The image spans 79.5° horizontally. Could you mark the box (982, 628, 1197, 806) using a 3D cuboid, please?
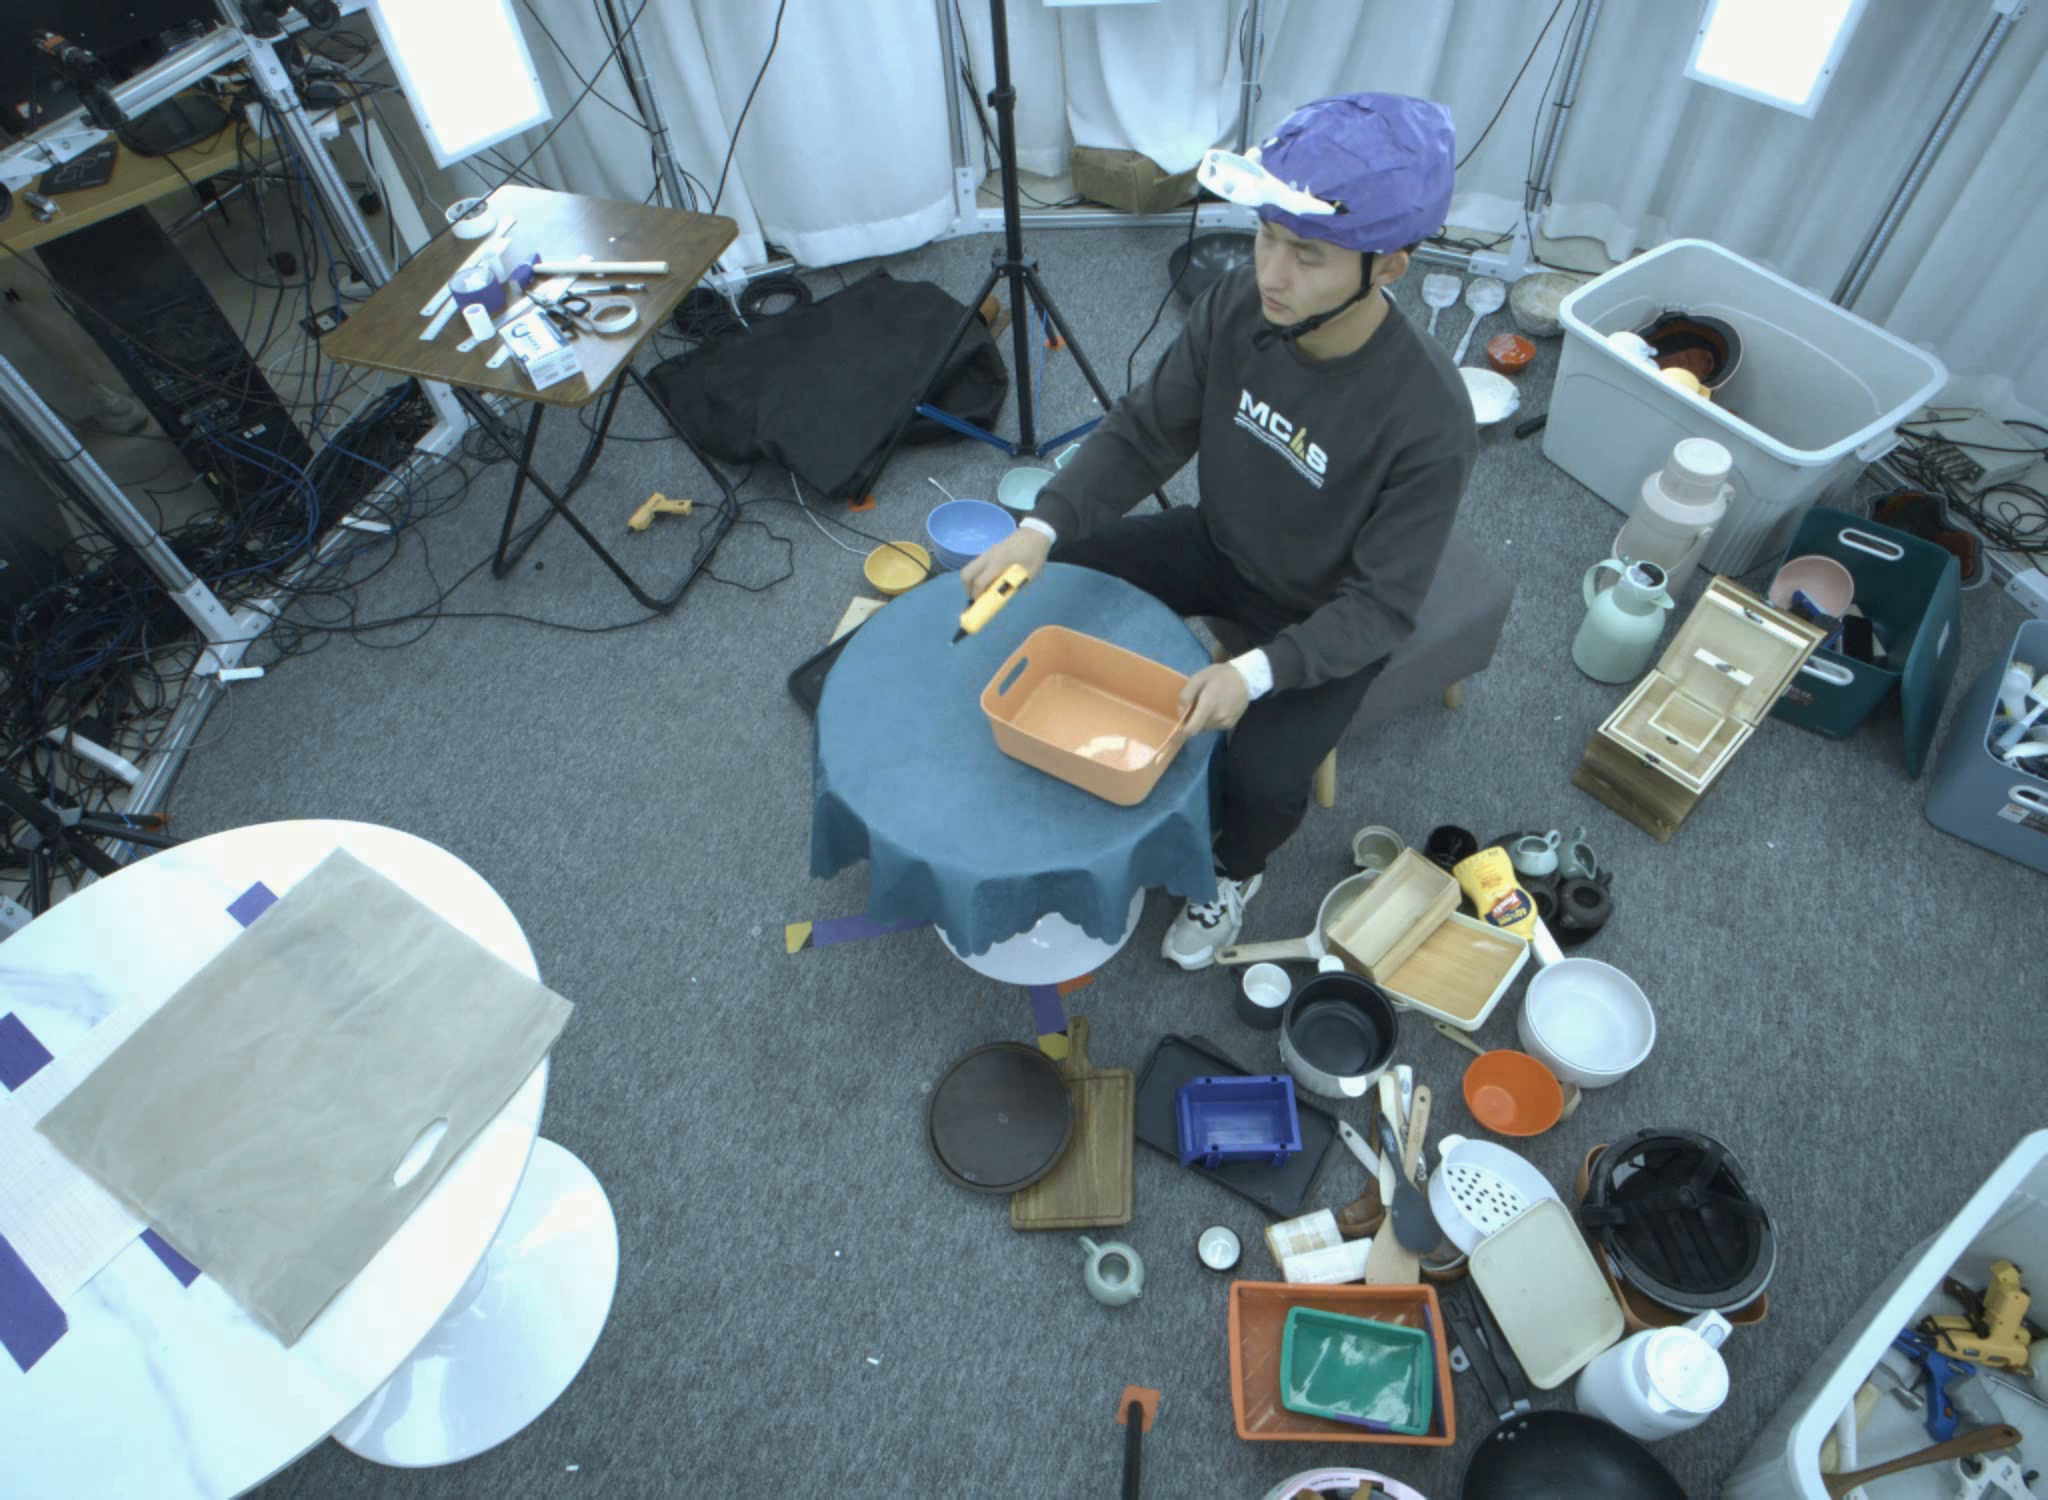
[{"bbox_3d":[0.096,-0.046,1.748,0.269,0.104,0.200,24,57,22],"label":"box"}]

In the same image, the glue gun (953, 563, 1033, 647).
[{"bbox_3d":[-0.067,-0.207,1.760,0.151,0.031,0.130,-49,27,-9],"label":"glue gun"}]
